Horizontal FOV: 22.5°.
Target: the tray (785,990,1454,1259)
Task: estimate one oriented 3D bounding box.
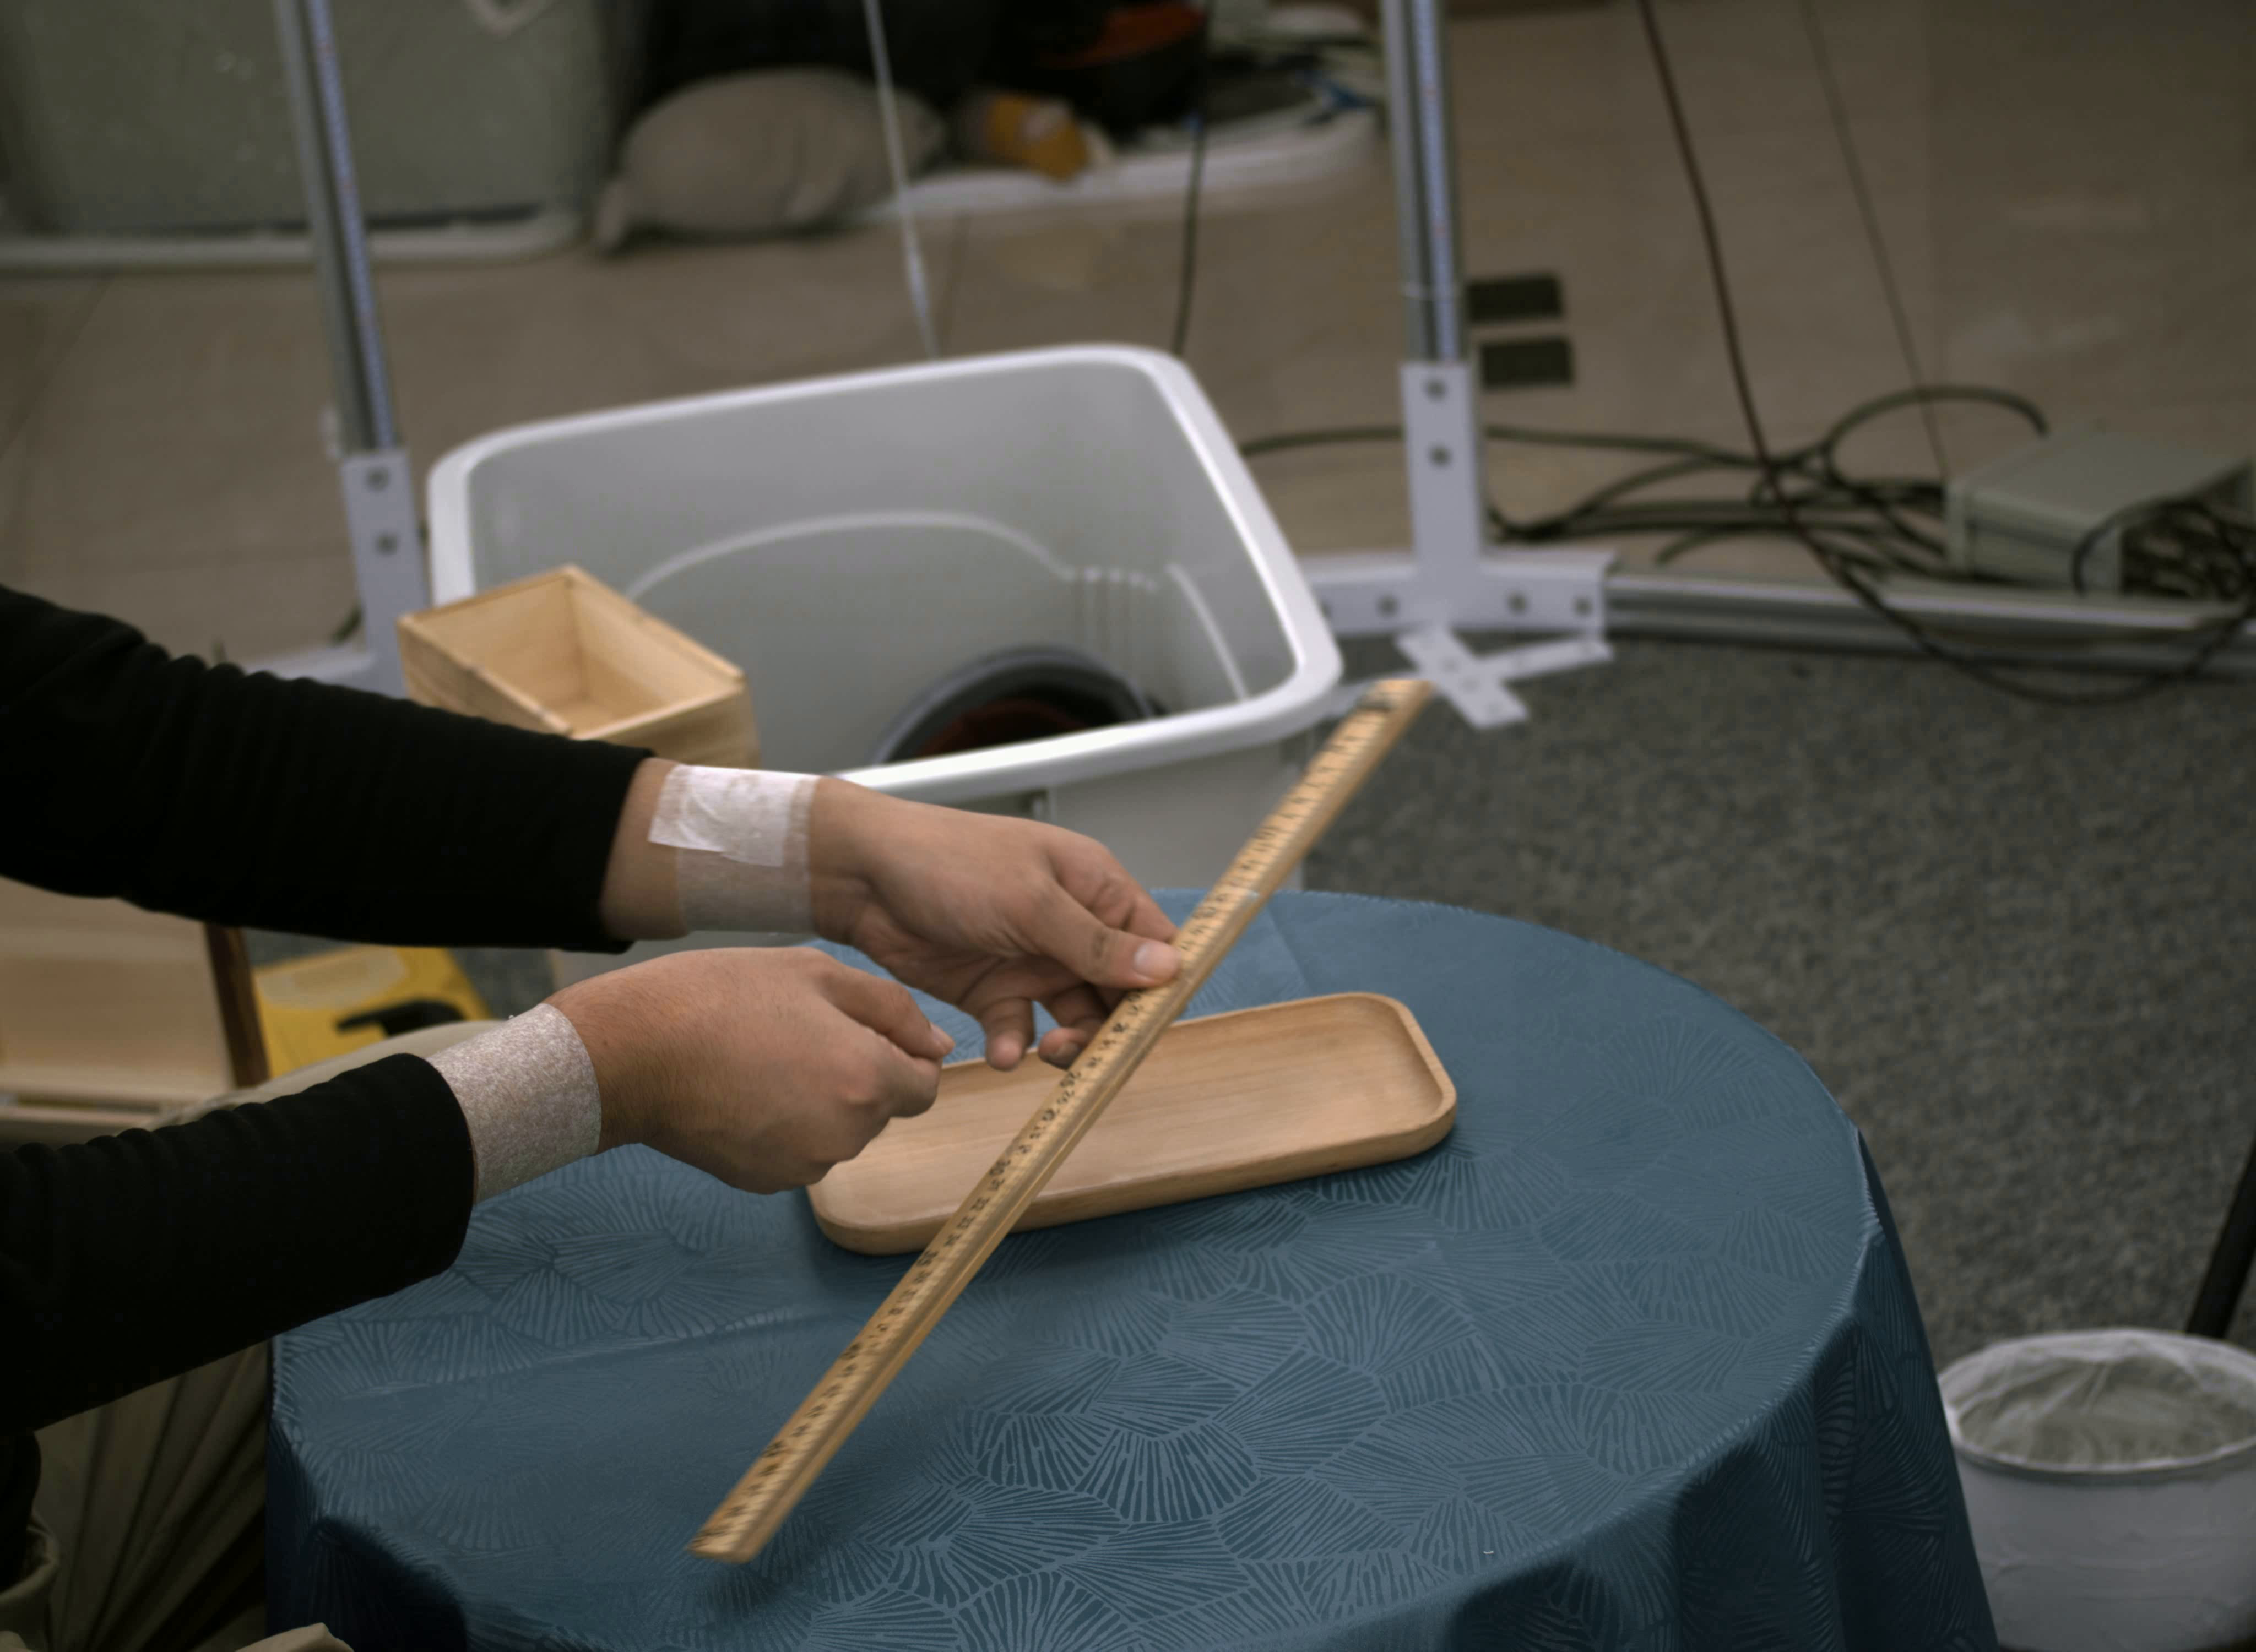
[{"bbox_3d":[-0.004,0.115,2.184,0.250,0.023,0.129,-11,23,-6],"label":"tray"}]

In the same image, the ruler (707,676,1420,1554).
[{"bbox_3d":[-0.015,0.092,2.052,0.027,0.006,0.493,-1,37,38],"label":"ruler"}]
